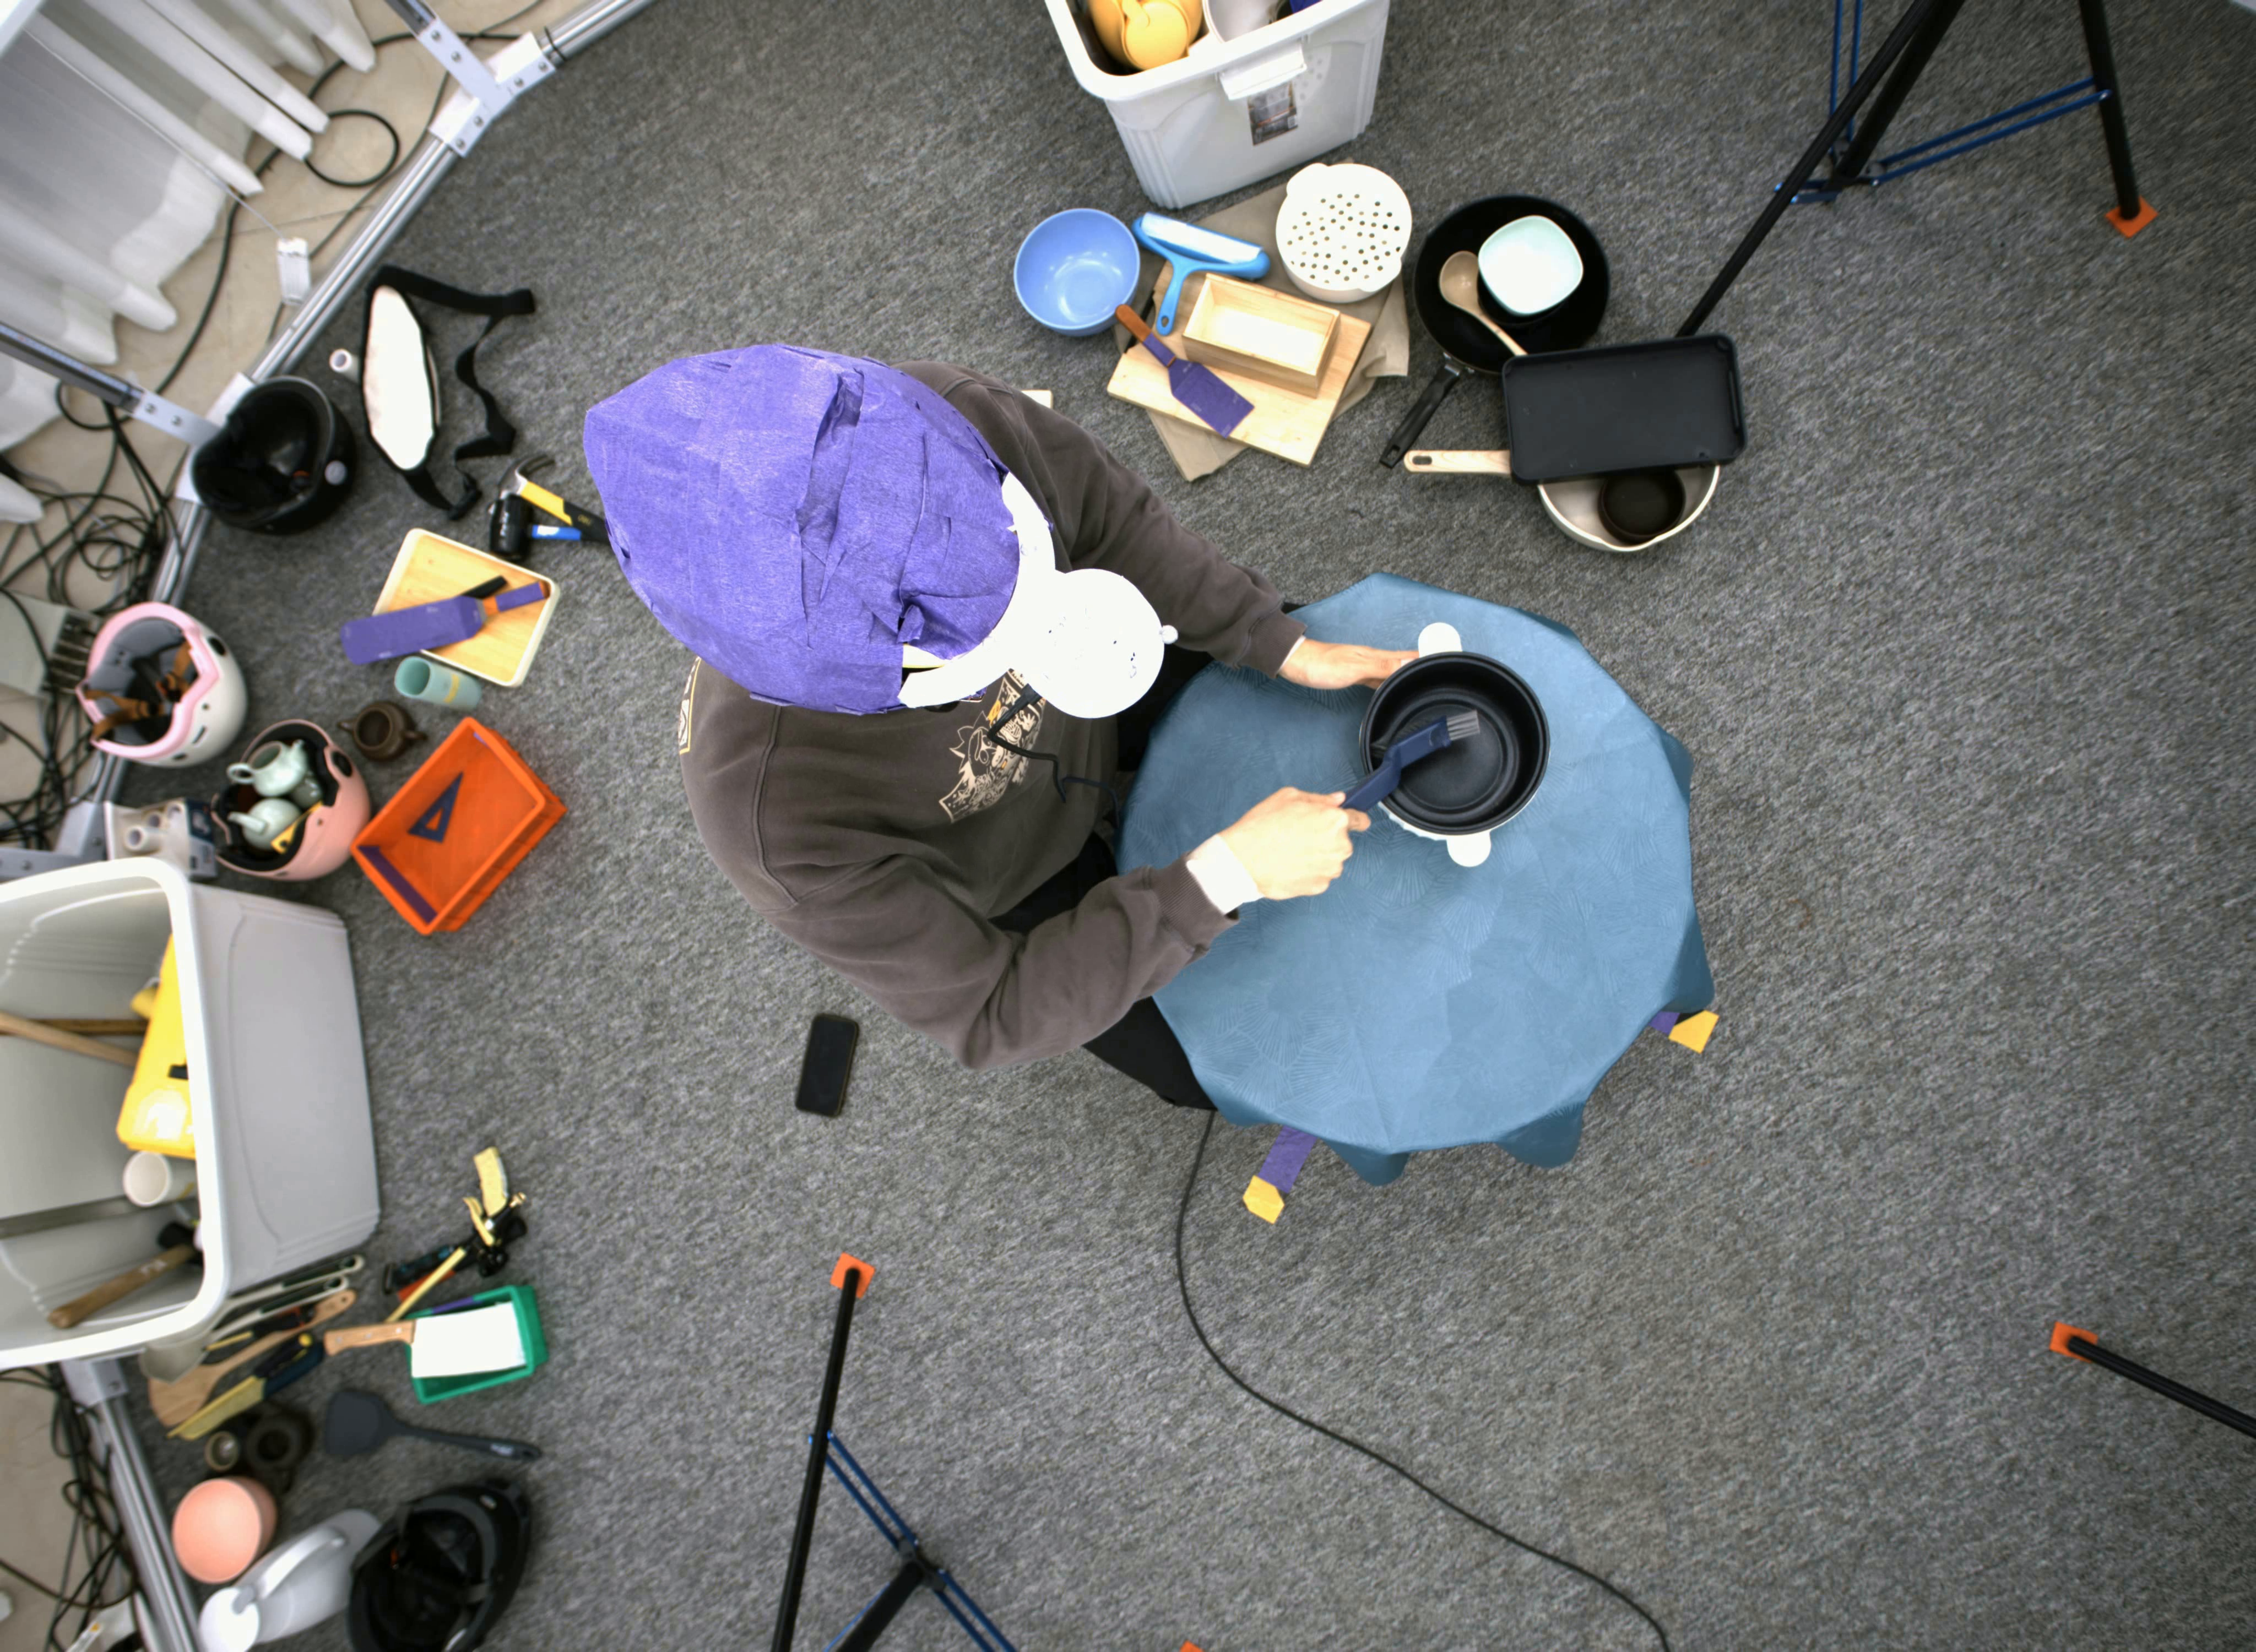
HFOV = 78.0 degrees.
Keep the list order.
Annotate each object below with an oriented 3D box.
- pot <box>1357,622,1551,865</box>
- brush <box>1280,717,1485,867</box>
[{"bbox_3d":[0.330,-0.079,1.383,0.192,0.142,0.239,-9,87,14],"label":"pot"},{"bbox_3d":[0.237,-0.041,1.282,0.096,0.267,0.034,8,126,38],"label":"brush"}]
